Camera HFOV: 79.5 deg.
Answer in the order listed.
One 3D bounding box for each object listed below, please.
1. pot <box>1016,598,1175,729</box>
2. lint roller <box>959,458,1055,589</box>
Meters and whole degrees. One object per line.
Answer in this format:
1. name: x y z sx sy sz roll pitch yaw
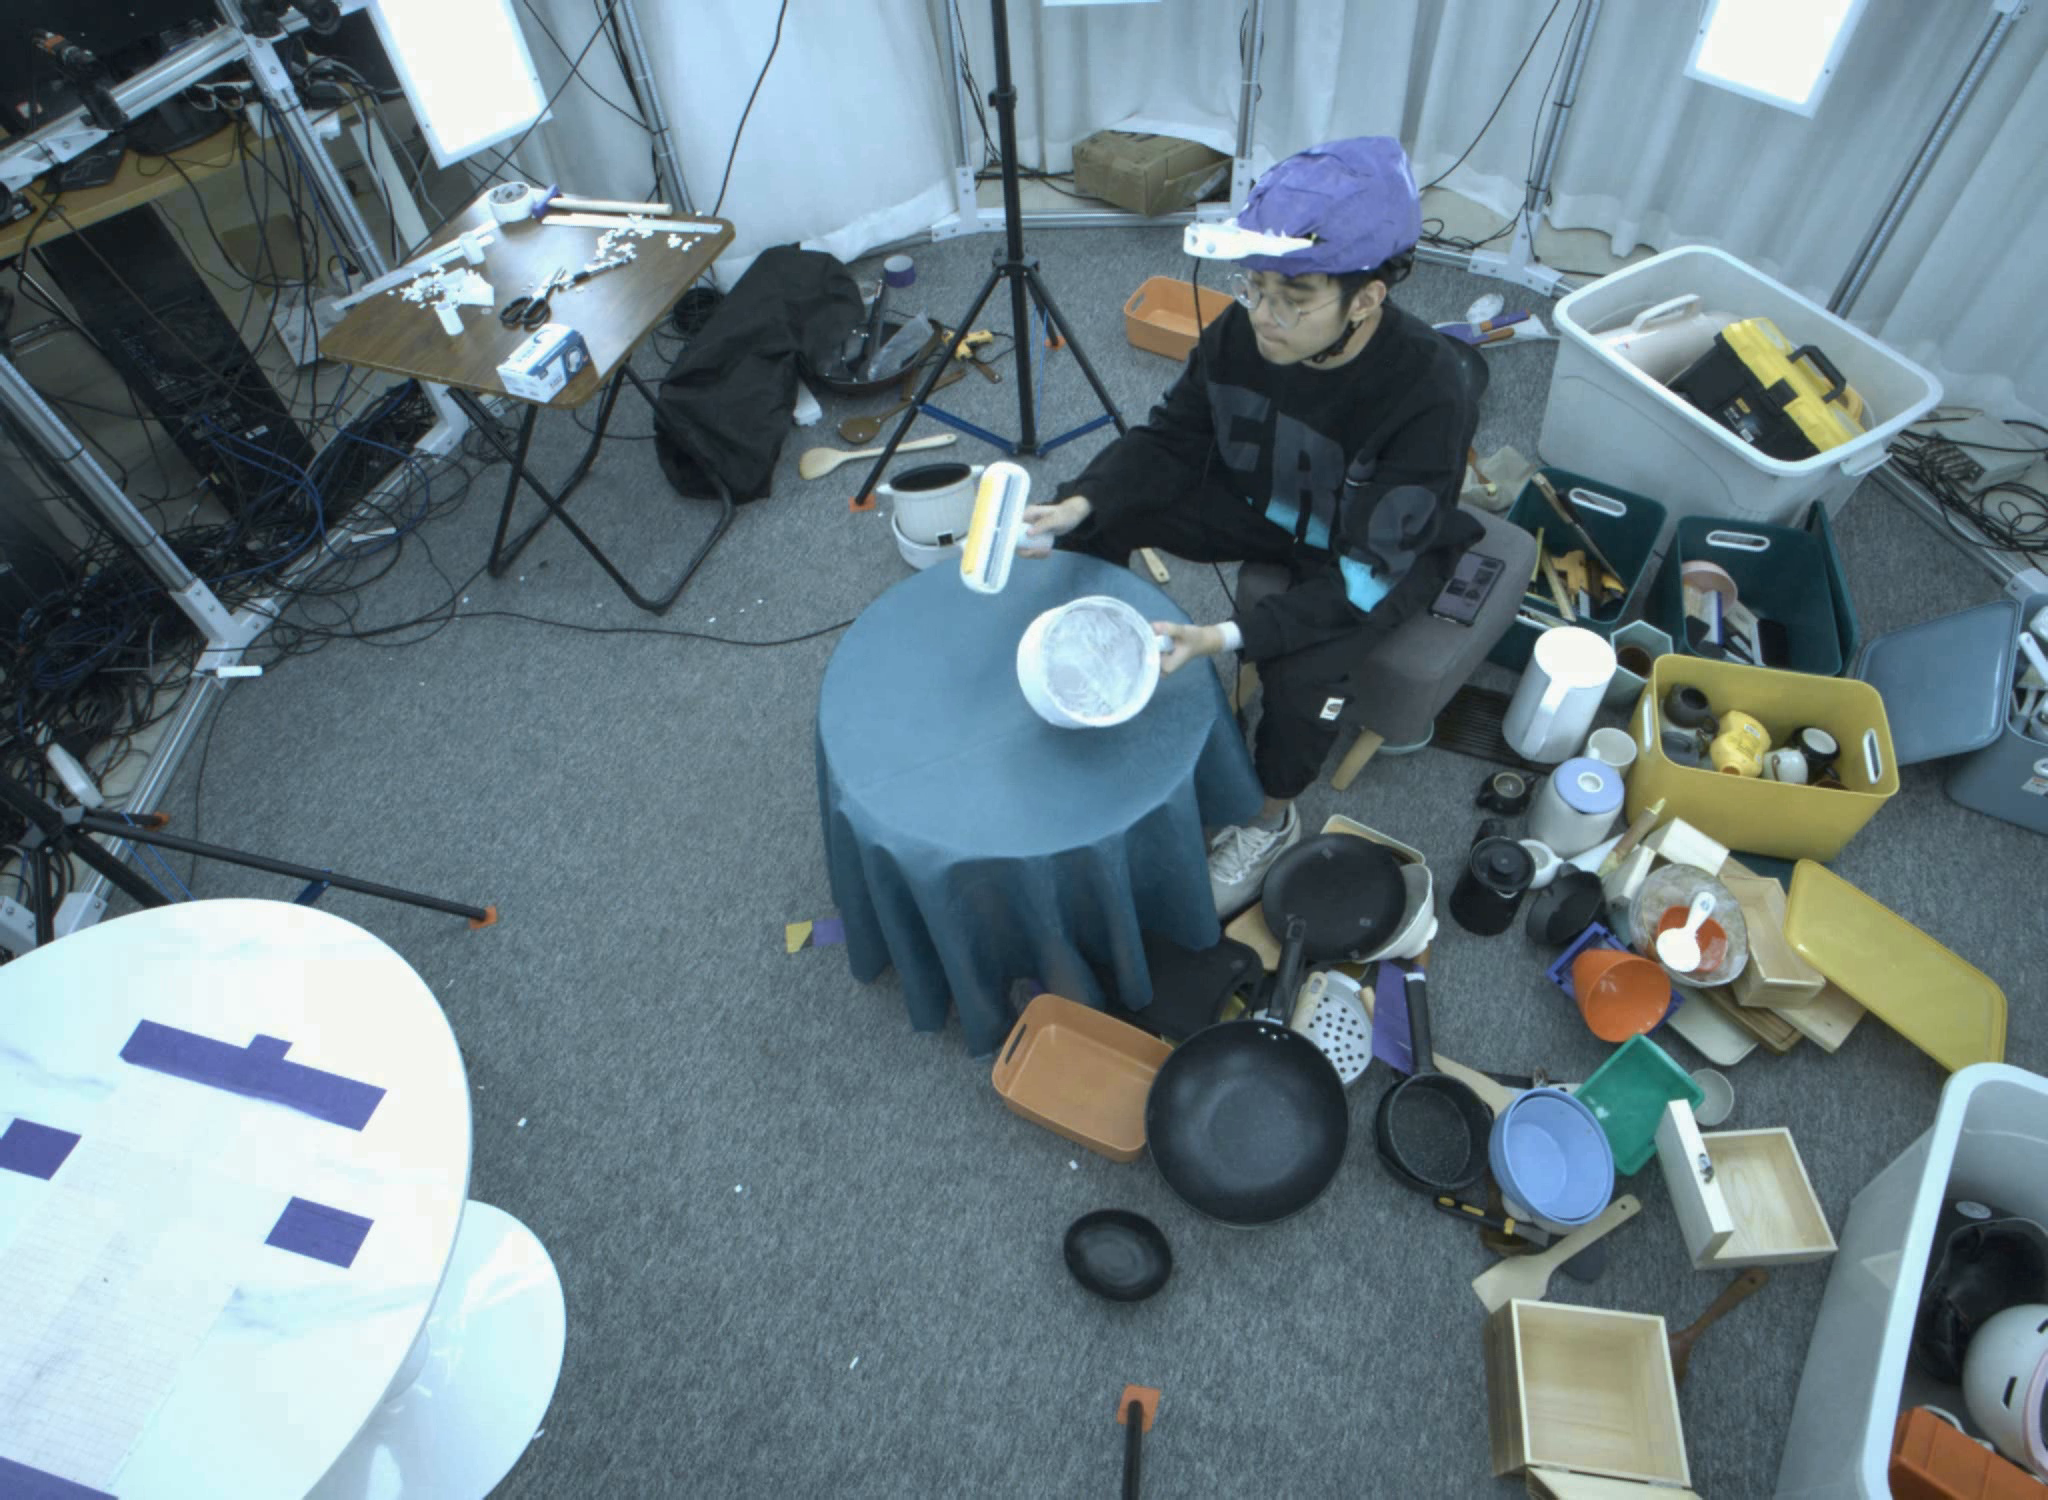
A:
1. pot: 0.109 -0.126 1.725 0.236 0.135 0.179 -18 97 -17
2. lint roller: -0.009 -0.326 1.832 0.072 0.197 0.193 16 95 42
